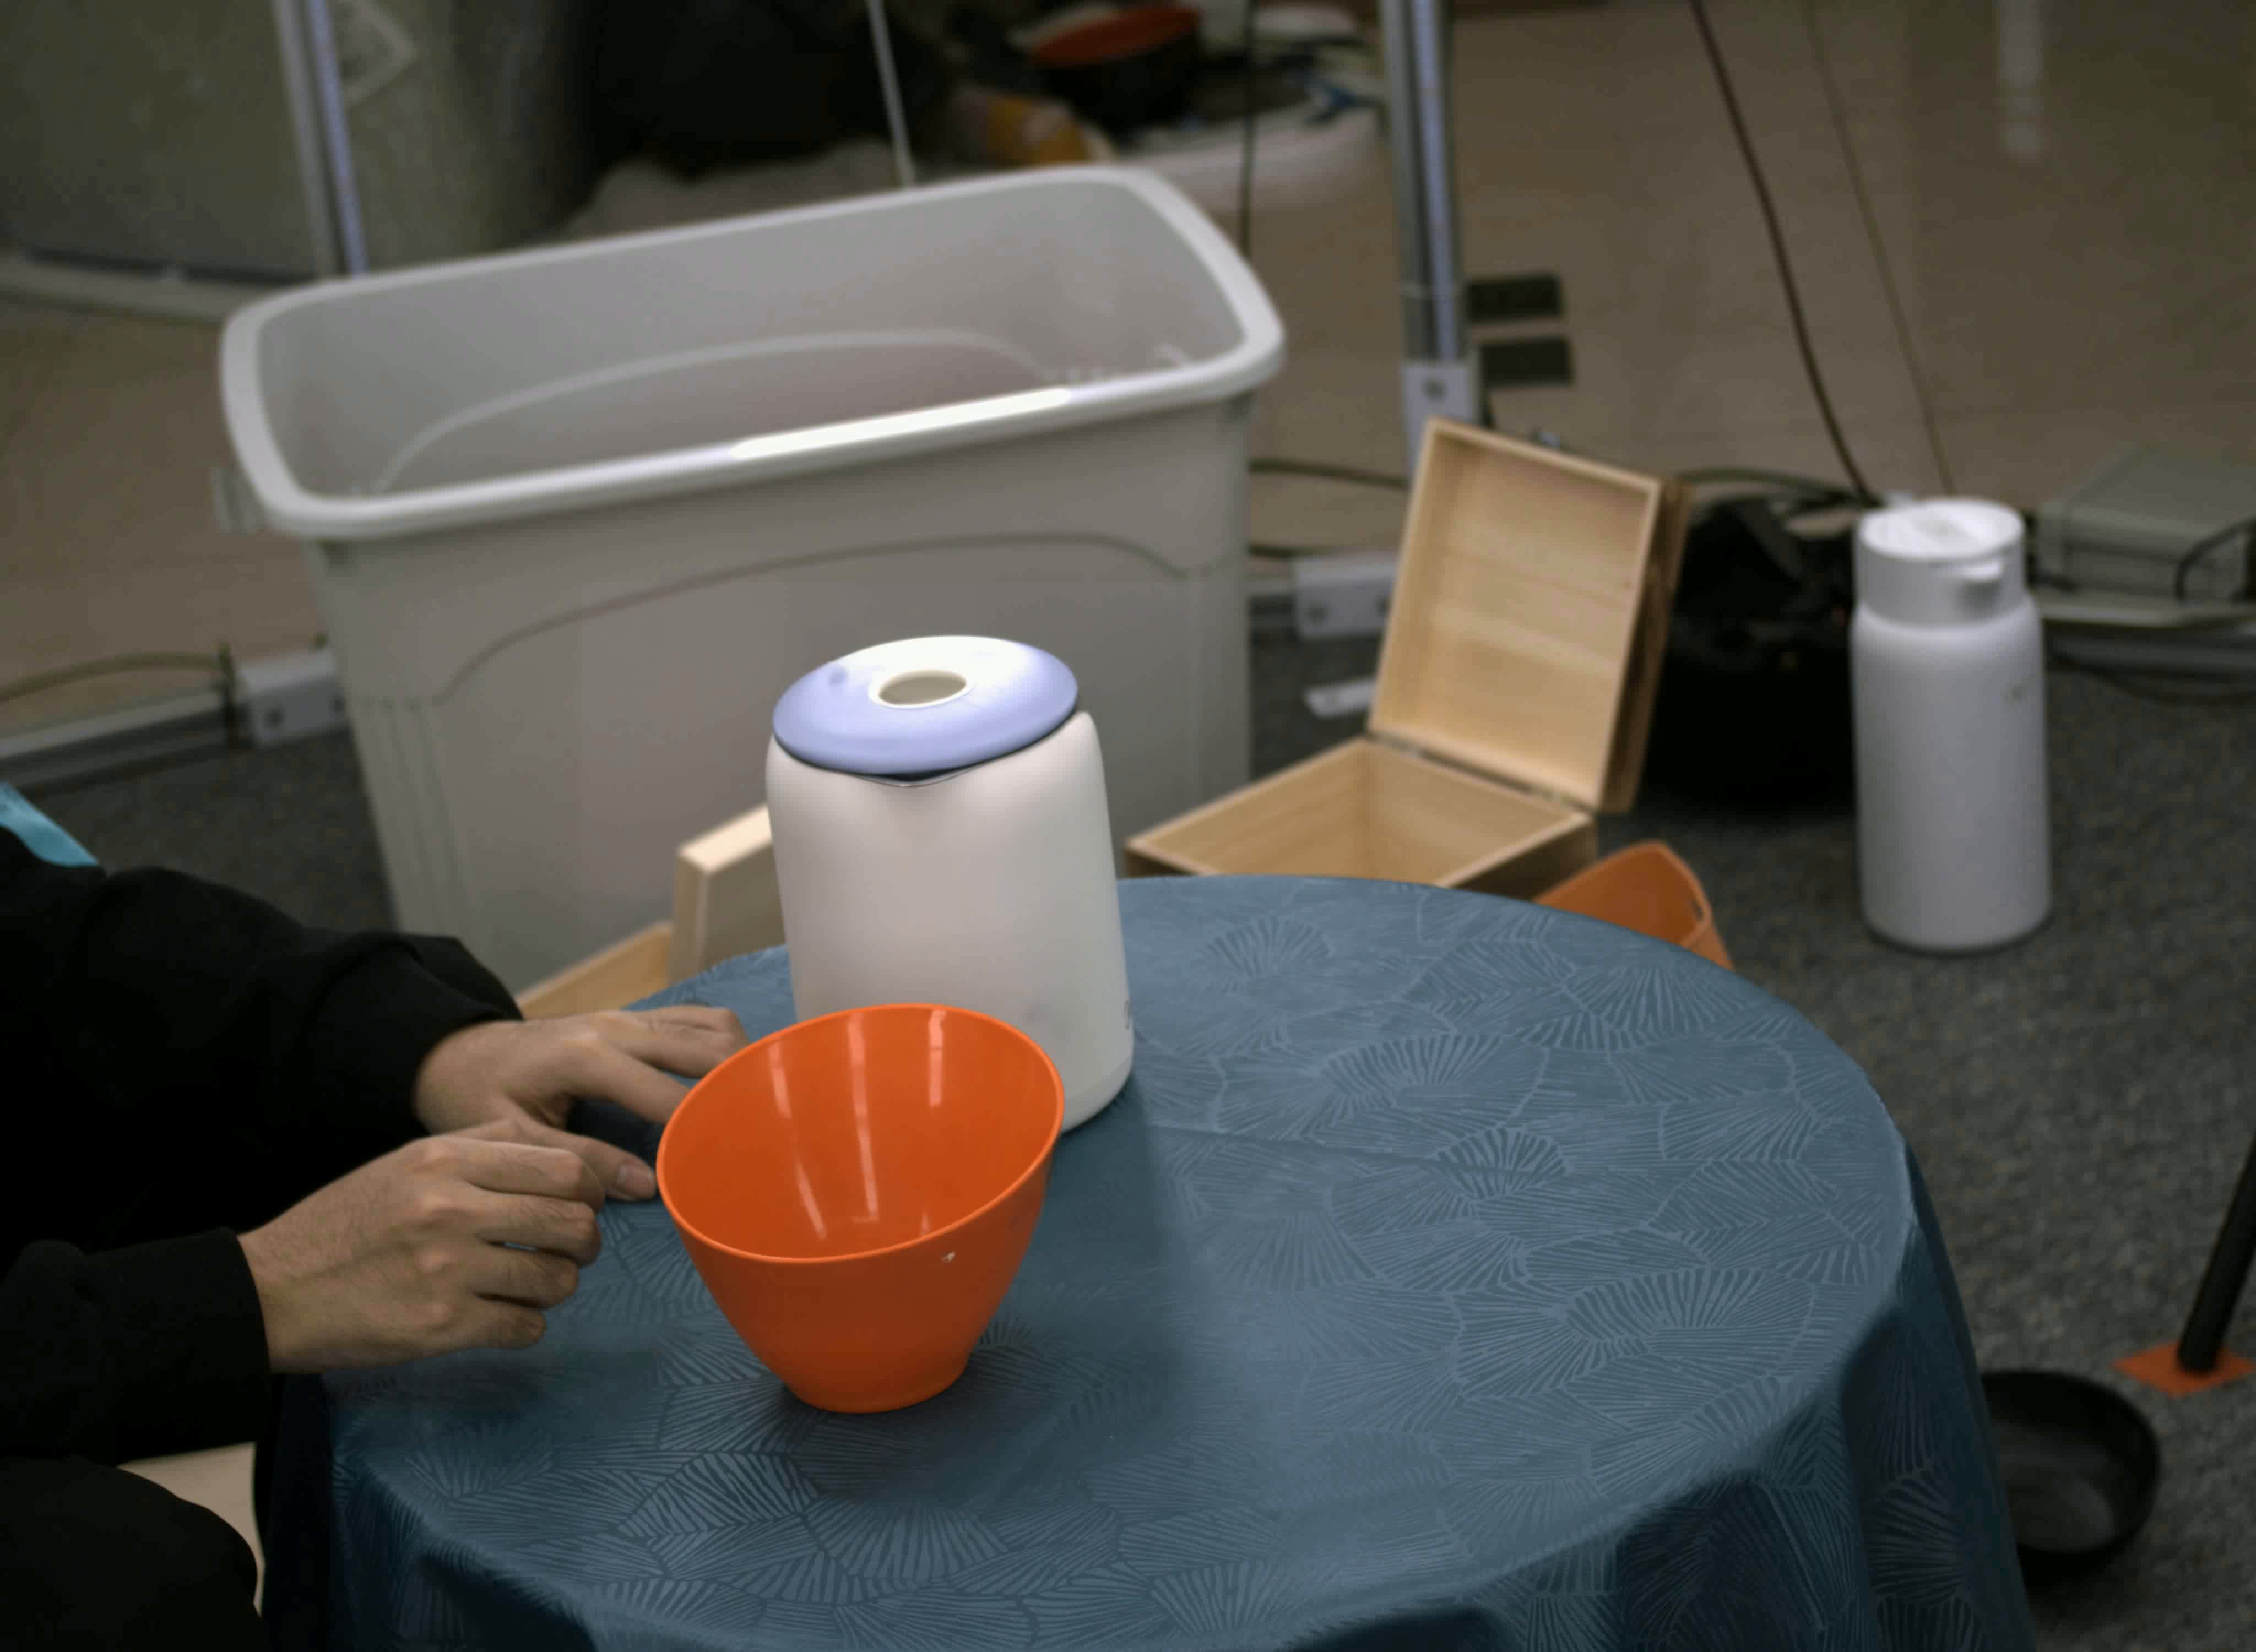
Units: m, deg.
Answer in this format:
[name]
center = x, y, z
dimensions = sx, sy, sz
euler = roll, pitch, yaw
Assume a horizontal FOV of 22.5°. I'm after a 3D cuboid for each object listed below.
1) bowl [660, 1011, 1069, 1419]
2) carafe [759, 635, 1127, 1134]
[bowl]
center = -0.090, 0.146, 2.032
dimensions = 0.148, 0.106, 0.146
euler = -5, 25, 2
[carafe]
center = -0.072, 0.018, 2.218
dimensions = 0.132, 0.185, 0.188
euler = -4, 23, 2
